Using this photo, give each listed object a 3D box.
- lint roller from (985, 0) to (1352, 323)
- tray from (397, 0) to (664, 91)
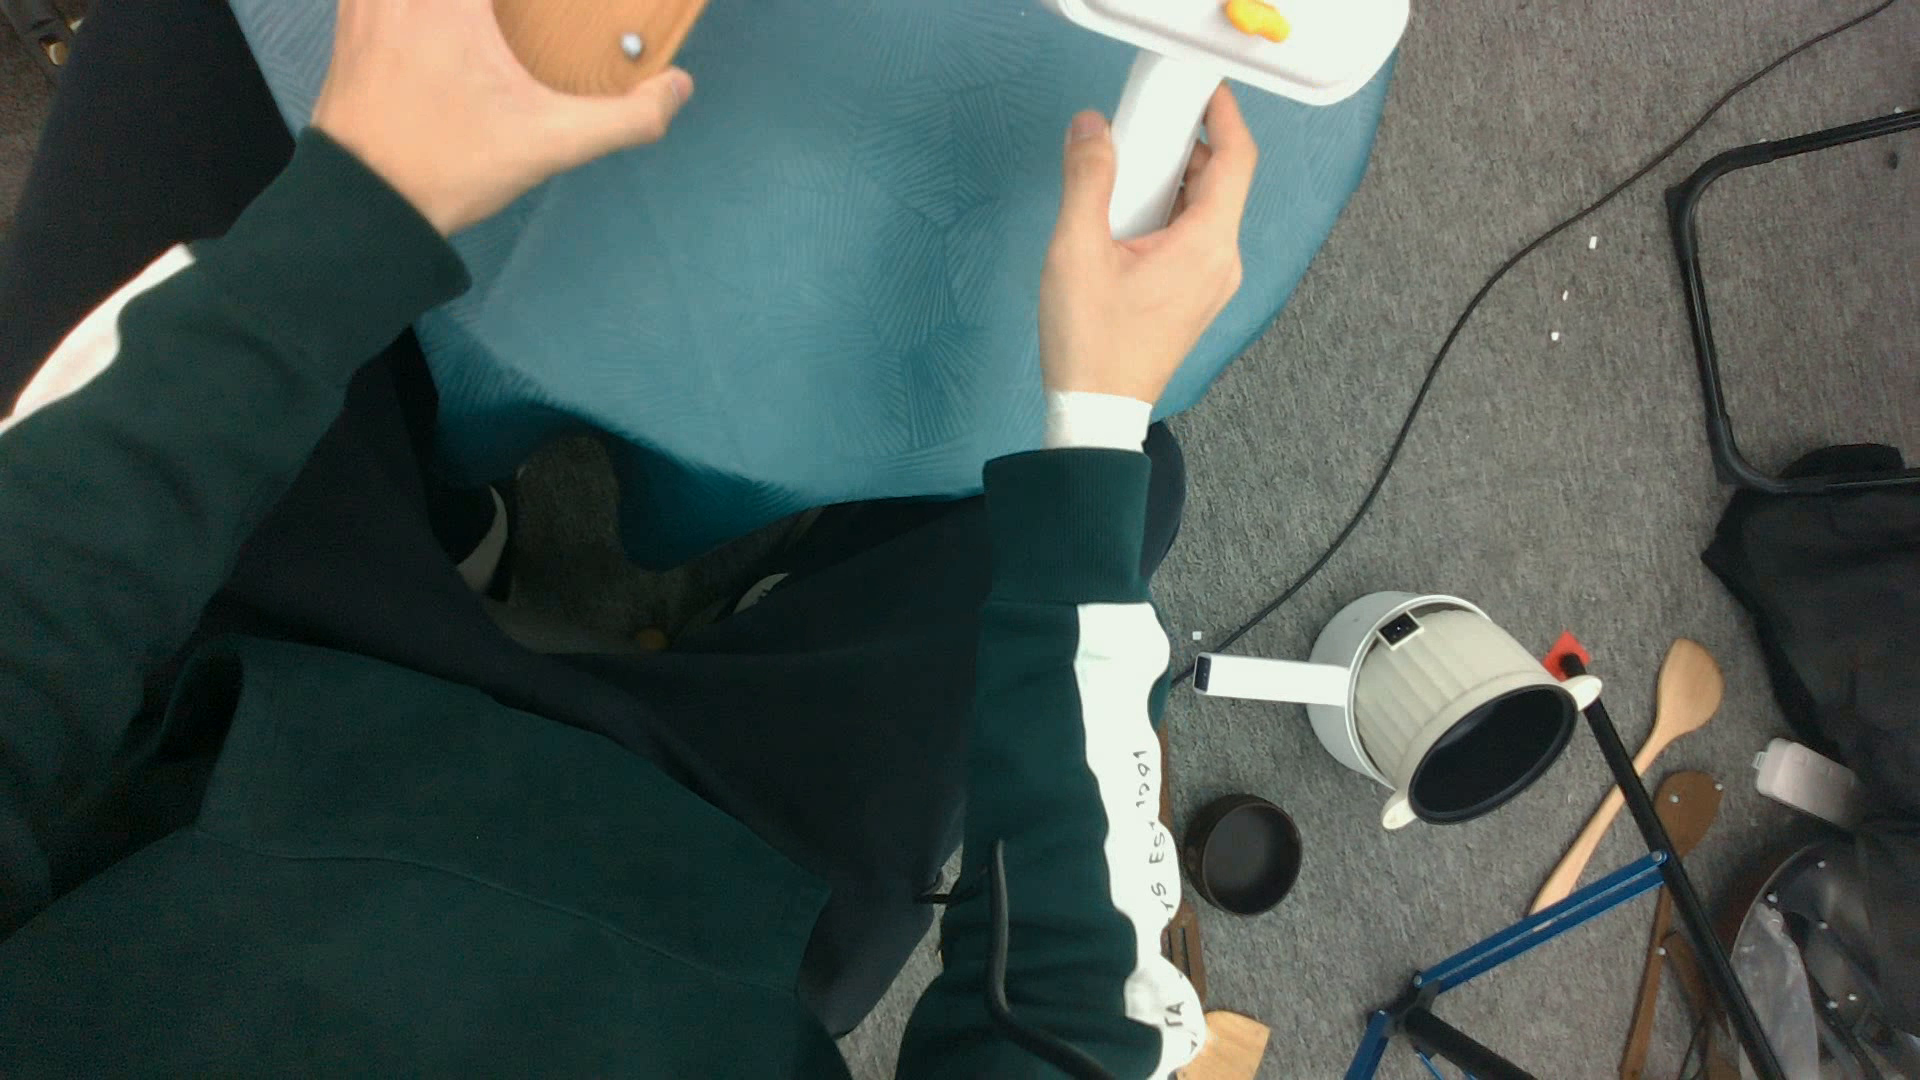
[{"bbox_3d":[0.067,-0.187,0.581,0.193,0.074,0.191,-5,131,-39],"label":"lint roller"},{"bbox_3d":[-0.127,-0.275,0.504,0.101,0.020,0.231,29,96,-16],"label":"tray"}]
